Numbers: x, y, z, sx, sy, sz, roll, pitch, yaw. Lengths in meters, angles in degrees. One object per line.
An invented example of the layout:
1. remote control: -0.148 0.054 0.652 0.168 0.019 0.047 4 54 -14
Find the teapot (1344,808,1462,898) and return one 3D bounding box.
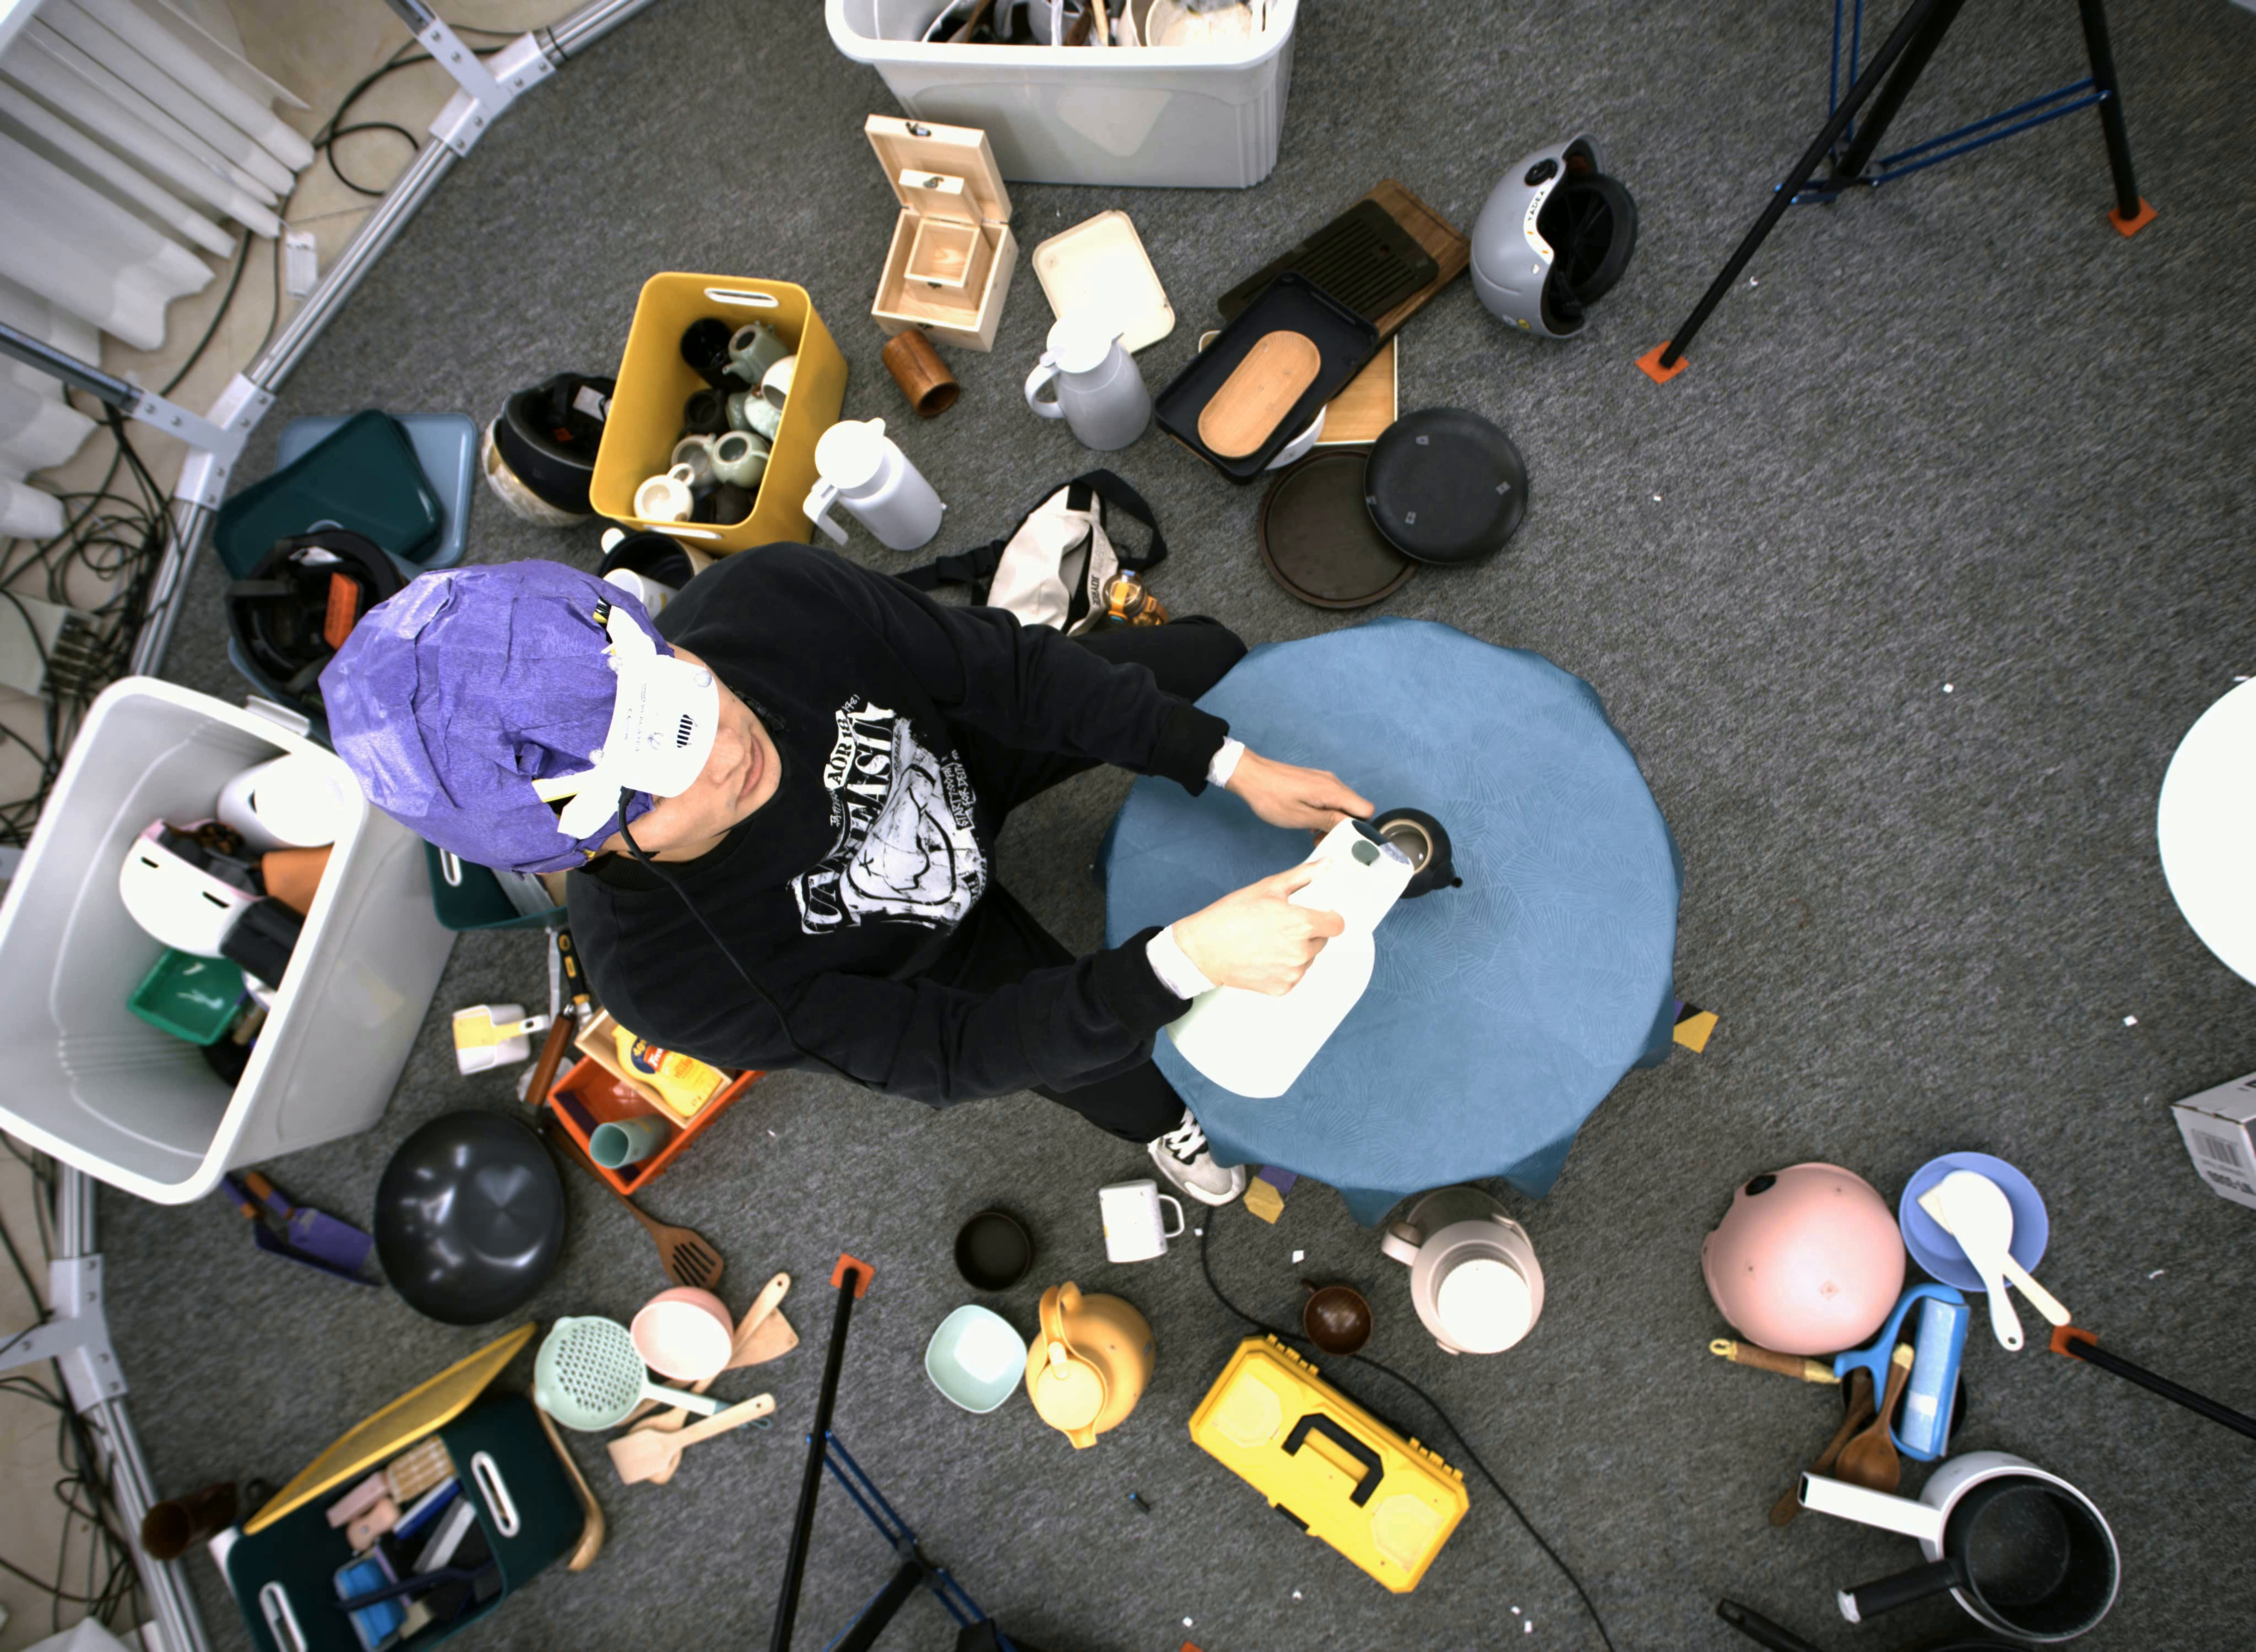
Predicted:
1. teapot: 0.272 0.024 1.361 0.132 0.053 0.091 32 91 17

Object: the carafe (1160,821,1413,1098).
1. carafe: 0.144 0.114 1.236 0.143 0.184 0.261 42 114 15
